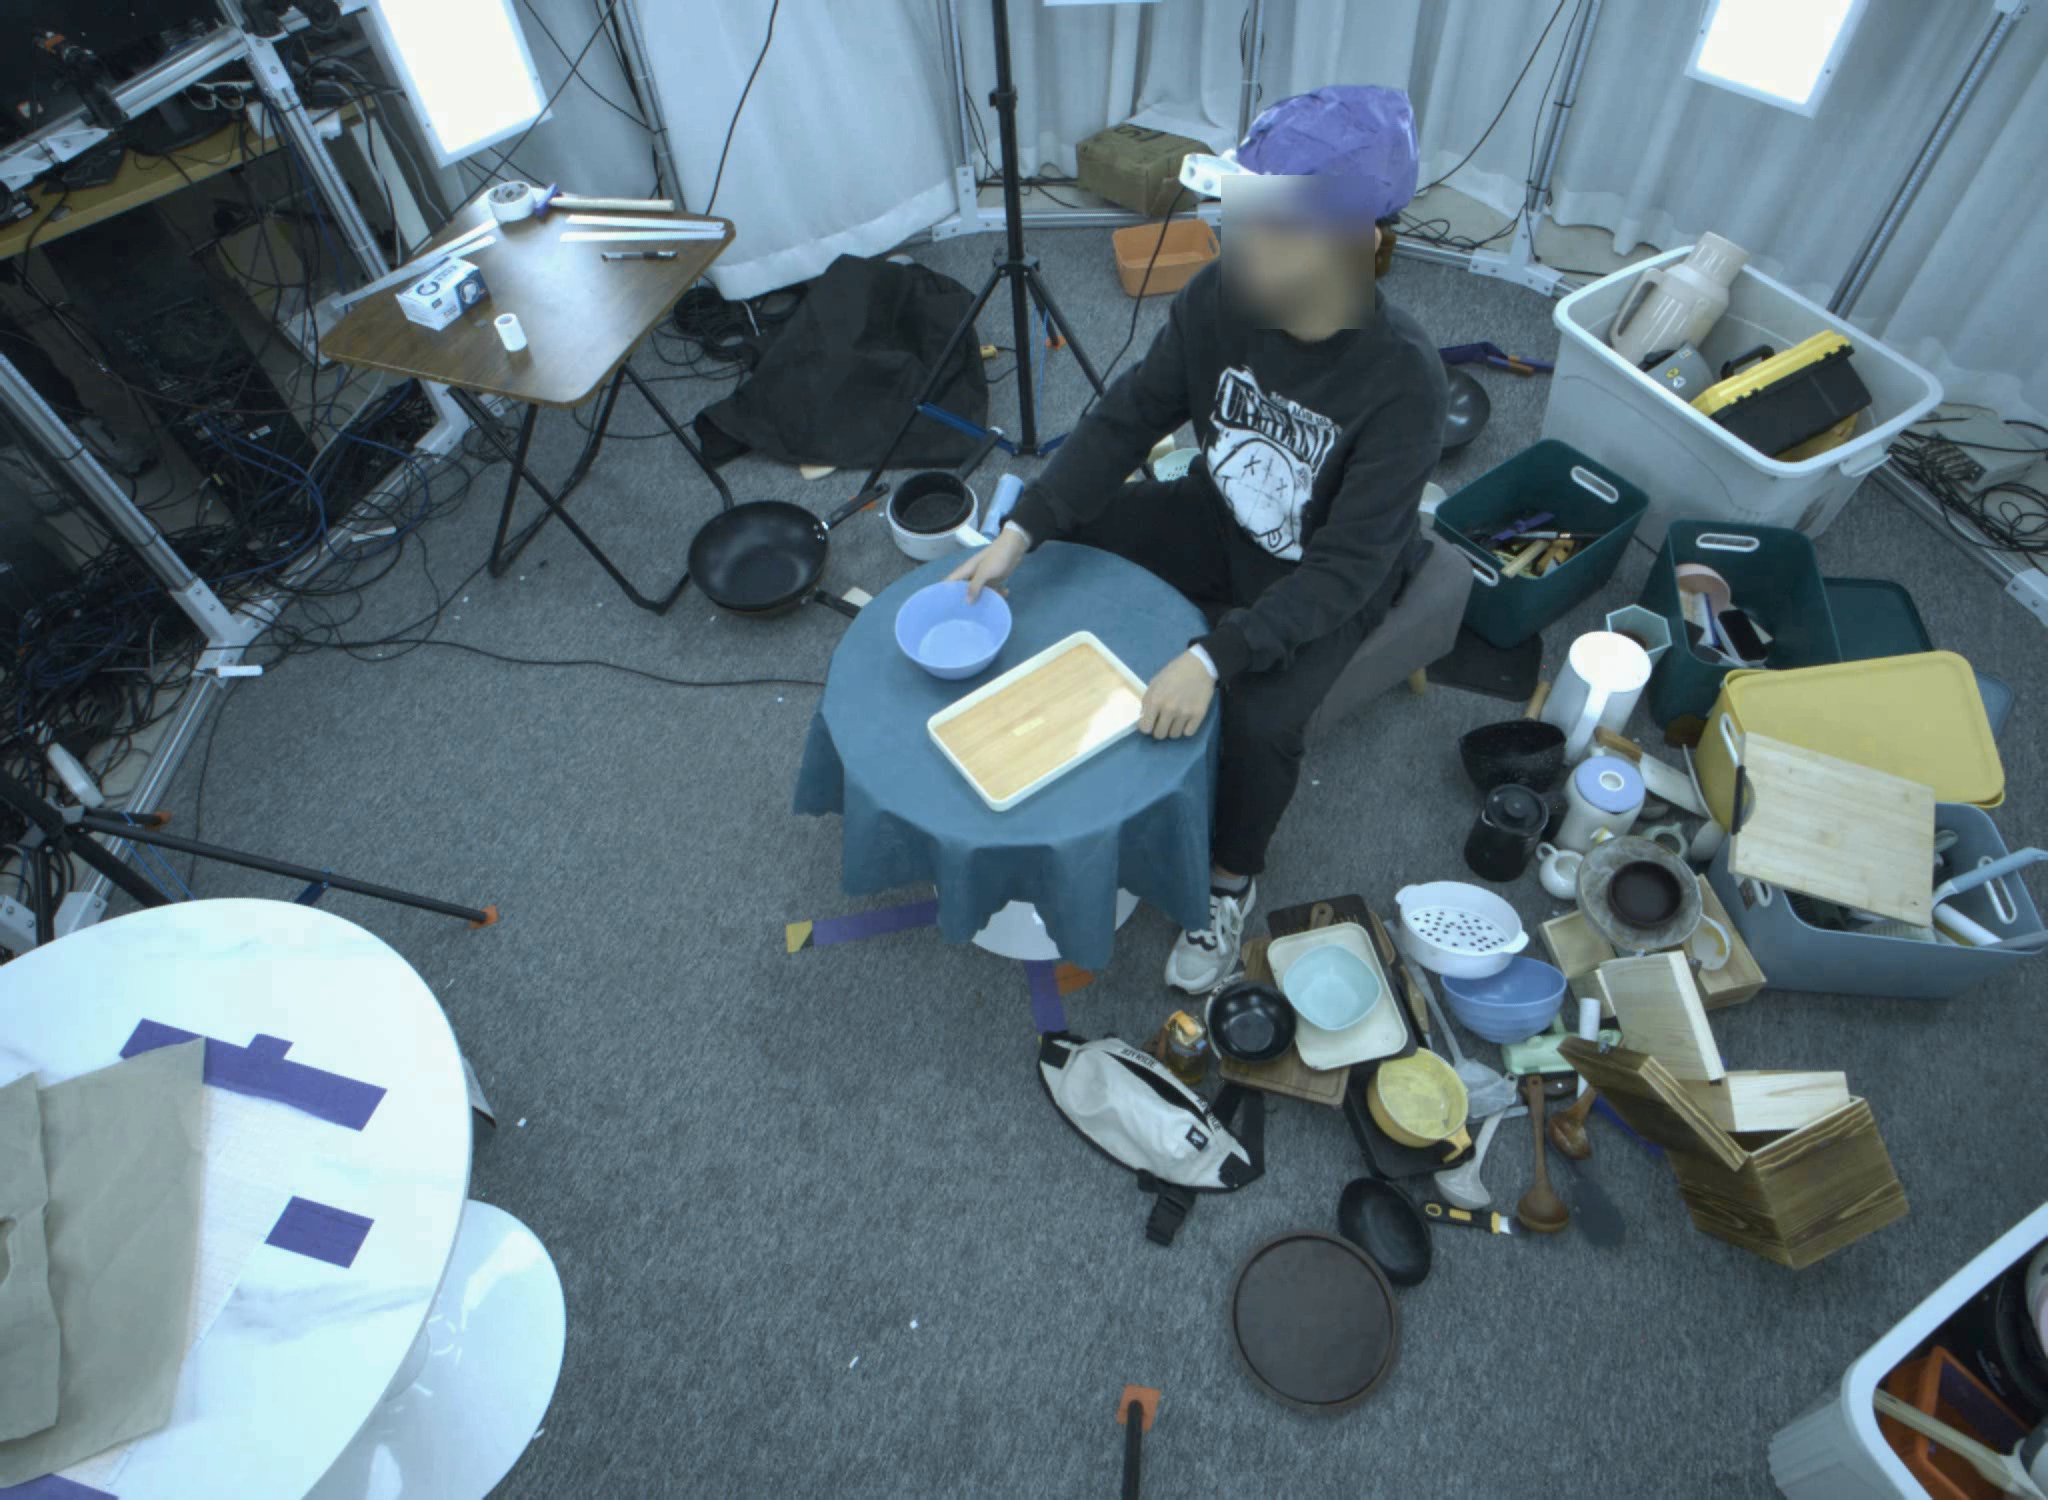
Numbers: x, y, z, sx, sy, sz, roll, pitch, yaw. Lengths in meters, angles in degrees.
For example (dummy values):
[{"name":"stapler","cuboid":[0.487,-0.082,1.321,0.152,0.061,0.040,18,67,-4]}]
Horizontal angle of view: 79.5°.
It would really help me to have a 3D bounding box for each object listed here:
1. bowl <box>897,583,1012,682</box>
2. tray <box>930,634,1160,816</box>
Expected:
[{"name":"bowl","cuboid":[-0.104,-0.170,1.876,0.176,0.071,0.174,0,56,1]},{"name":"tray","cuboid":[0.032,-0.042,1.810,0.302,0.028,0.188,-32,60,-19]}]
